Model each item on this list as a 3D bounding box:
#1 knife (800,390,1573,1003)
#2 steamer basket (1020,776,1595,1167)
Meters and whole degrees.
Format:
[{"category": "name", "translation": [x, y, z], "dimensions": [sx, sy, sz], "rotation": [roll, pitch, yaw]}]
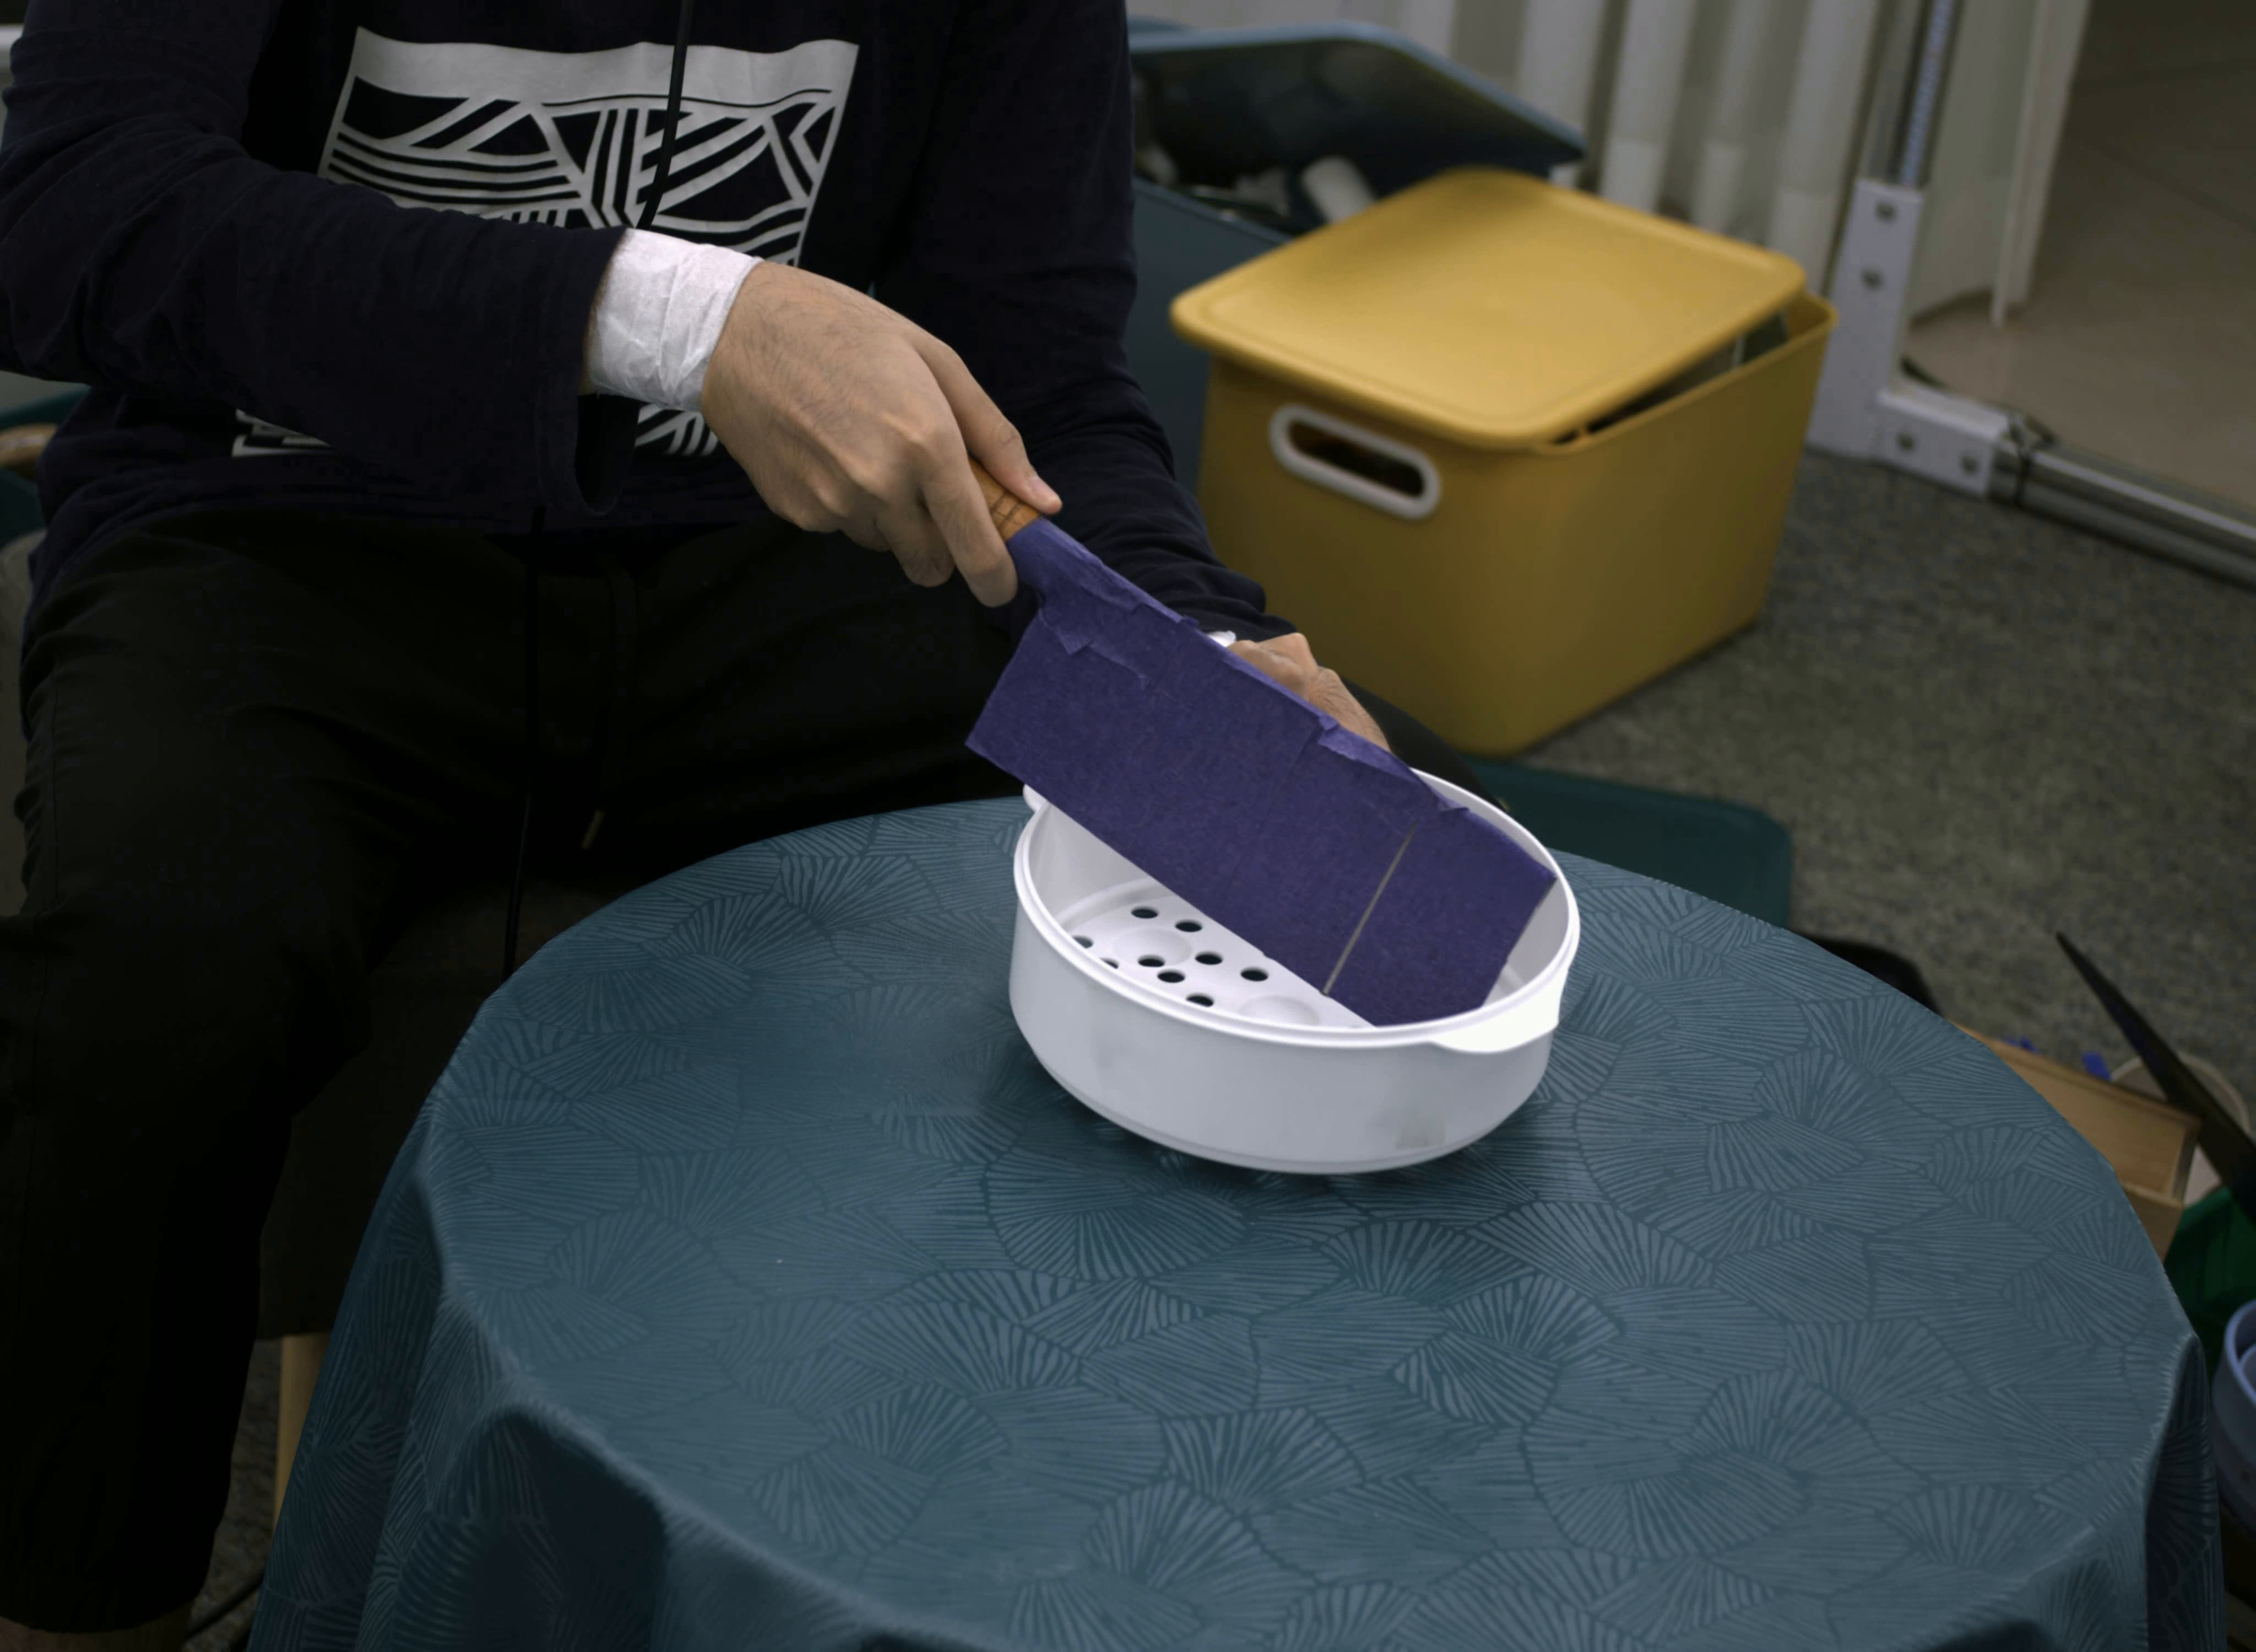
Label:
[{"category": "knife", "translation": [0.004, -0.034, 1.864], "dimensions": [0.316, 0.104, 0.032], "rotation": [34, 25, 14]}, {"category": "steamer basket", "translation": [0.060, 0.049, 1.875], "dimensions": [0.232, 0.069, 0.201], "rotation": [27, 34, 37]}]
